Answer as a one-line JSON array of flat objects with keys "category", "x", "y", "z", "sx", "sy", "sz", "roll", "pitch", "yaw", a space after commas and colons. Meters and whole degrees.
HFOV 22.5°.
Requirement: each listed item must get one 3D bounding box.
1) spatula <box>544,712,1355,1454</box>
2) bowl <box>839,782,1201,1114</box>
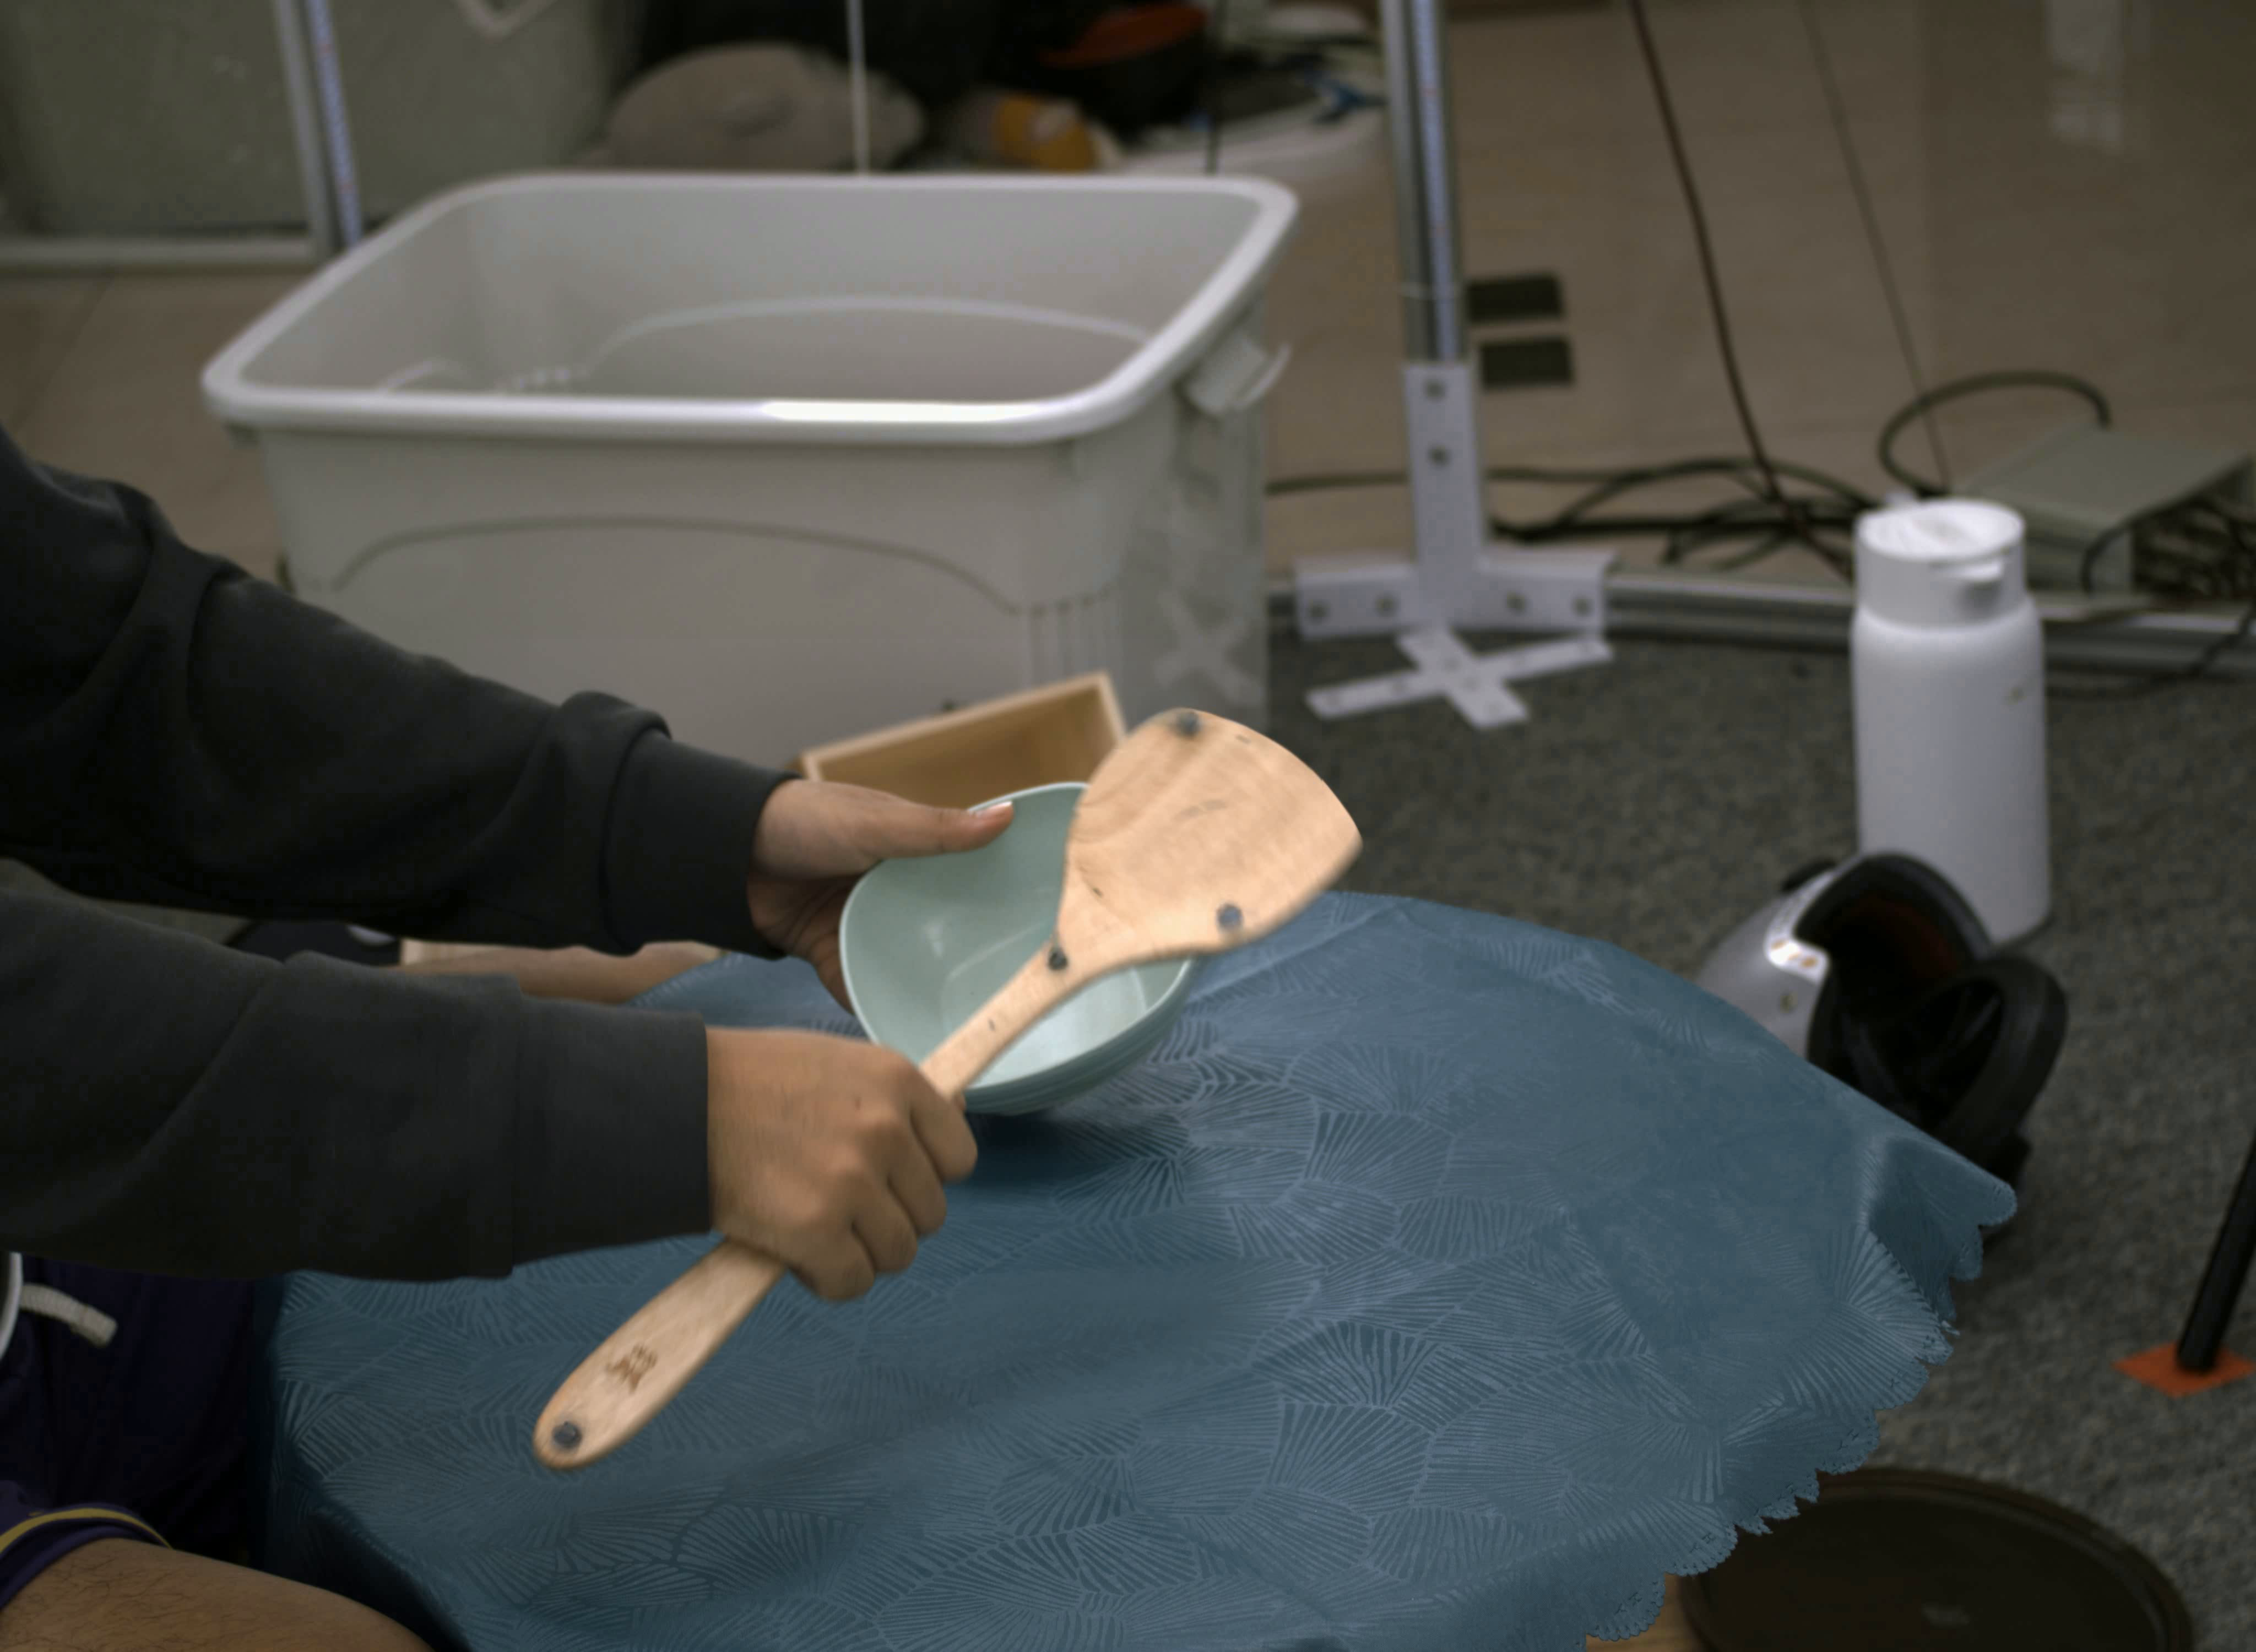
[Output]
[{"category": "spatula", "x": -0.065, "y": 0.089, "z": 1.963, "sx": 0.095, "sy": 0.019, "sz": 0.386, "roll": 30, "pitch": 55, "yaw": 25}, {"category": "bowl", "x": -0.037, "y": 0.058, "z": 2.217, "sx": 0.151, "sy": 0.060, "sz": 0.149, "roll": -8, "pitch": 51, "yaw": 10}]
